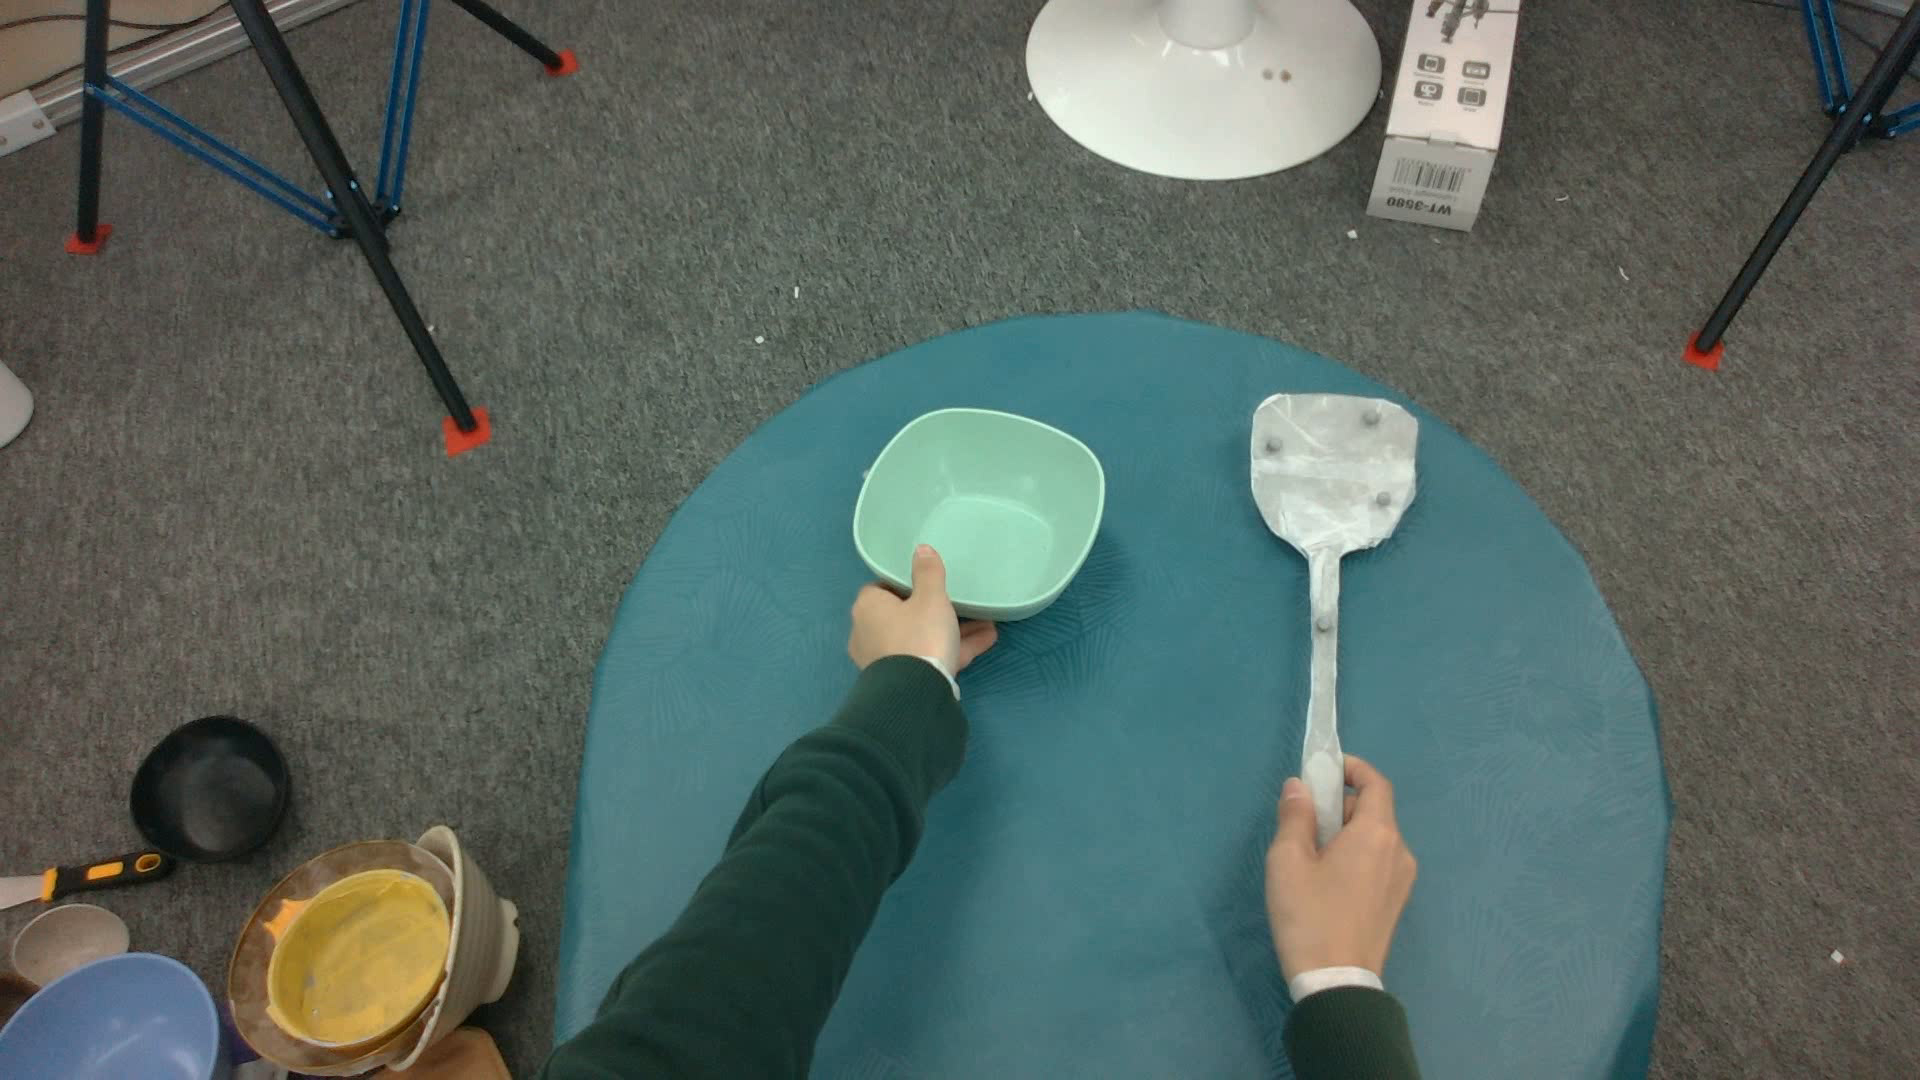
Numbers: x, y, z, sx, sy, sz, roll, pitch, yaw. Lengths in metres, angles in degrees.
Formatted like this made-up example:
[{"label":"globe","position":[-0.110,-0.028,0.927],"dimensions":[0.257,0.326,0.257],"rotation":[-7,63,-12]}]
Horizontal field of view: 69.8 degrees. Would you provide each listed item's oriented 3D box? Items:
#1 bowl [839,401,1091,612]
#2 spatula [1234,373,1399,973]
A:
[{"label":"bowl","position":[0.005,-0.011,0.809],"dimensions":[0.151,0.058,0.152],"rotation":[-2,54,2]},{"label":"spatula","position":[0.189,0.056,0.761],"dimensions":[0.098,0.044,0.366],"rotation":[8,54,7]}]
